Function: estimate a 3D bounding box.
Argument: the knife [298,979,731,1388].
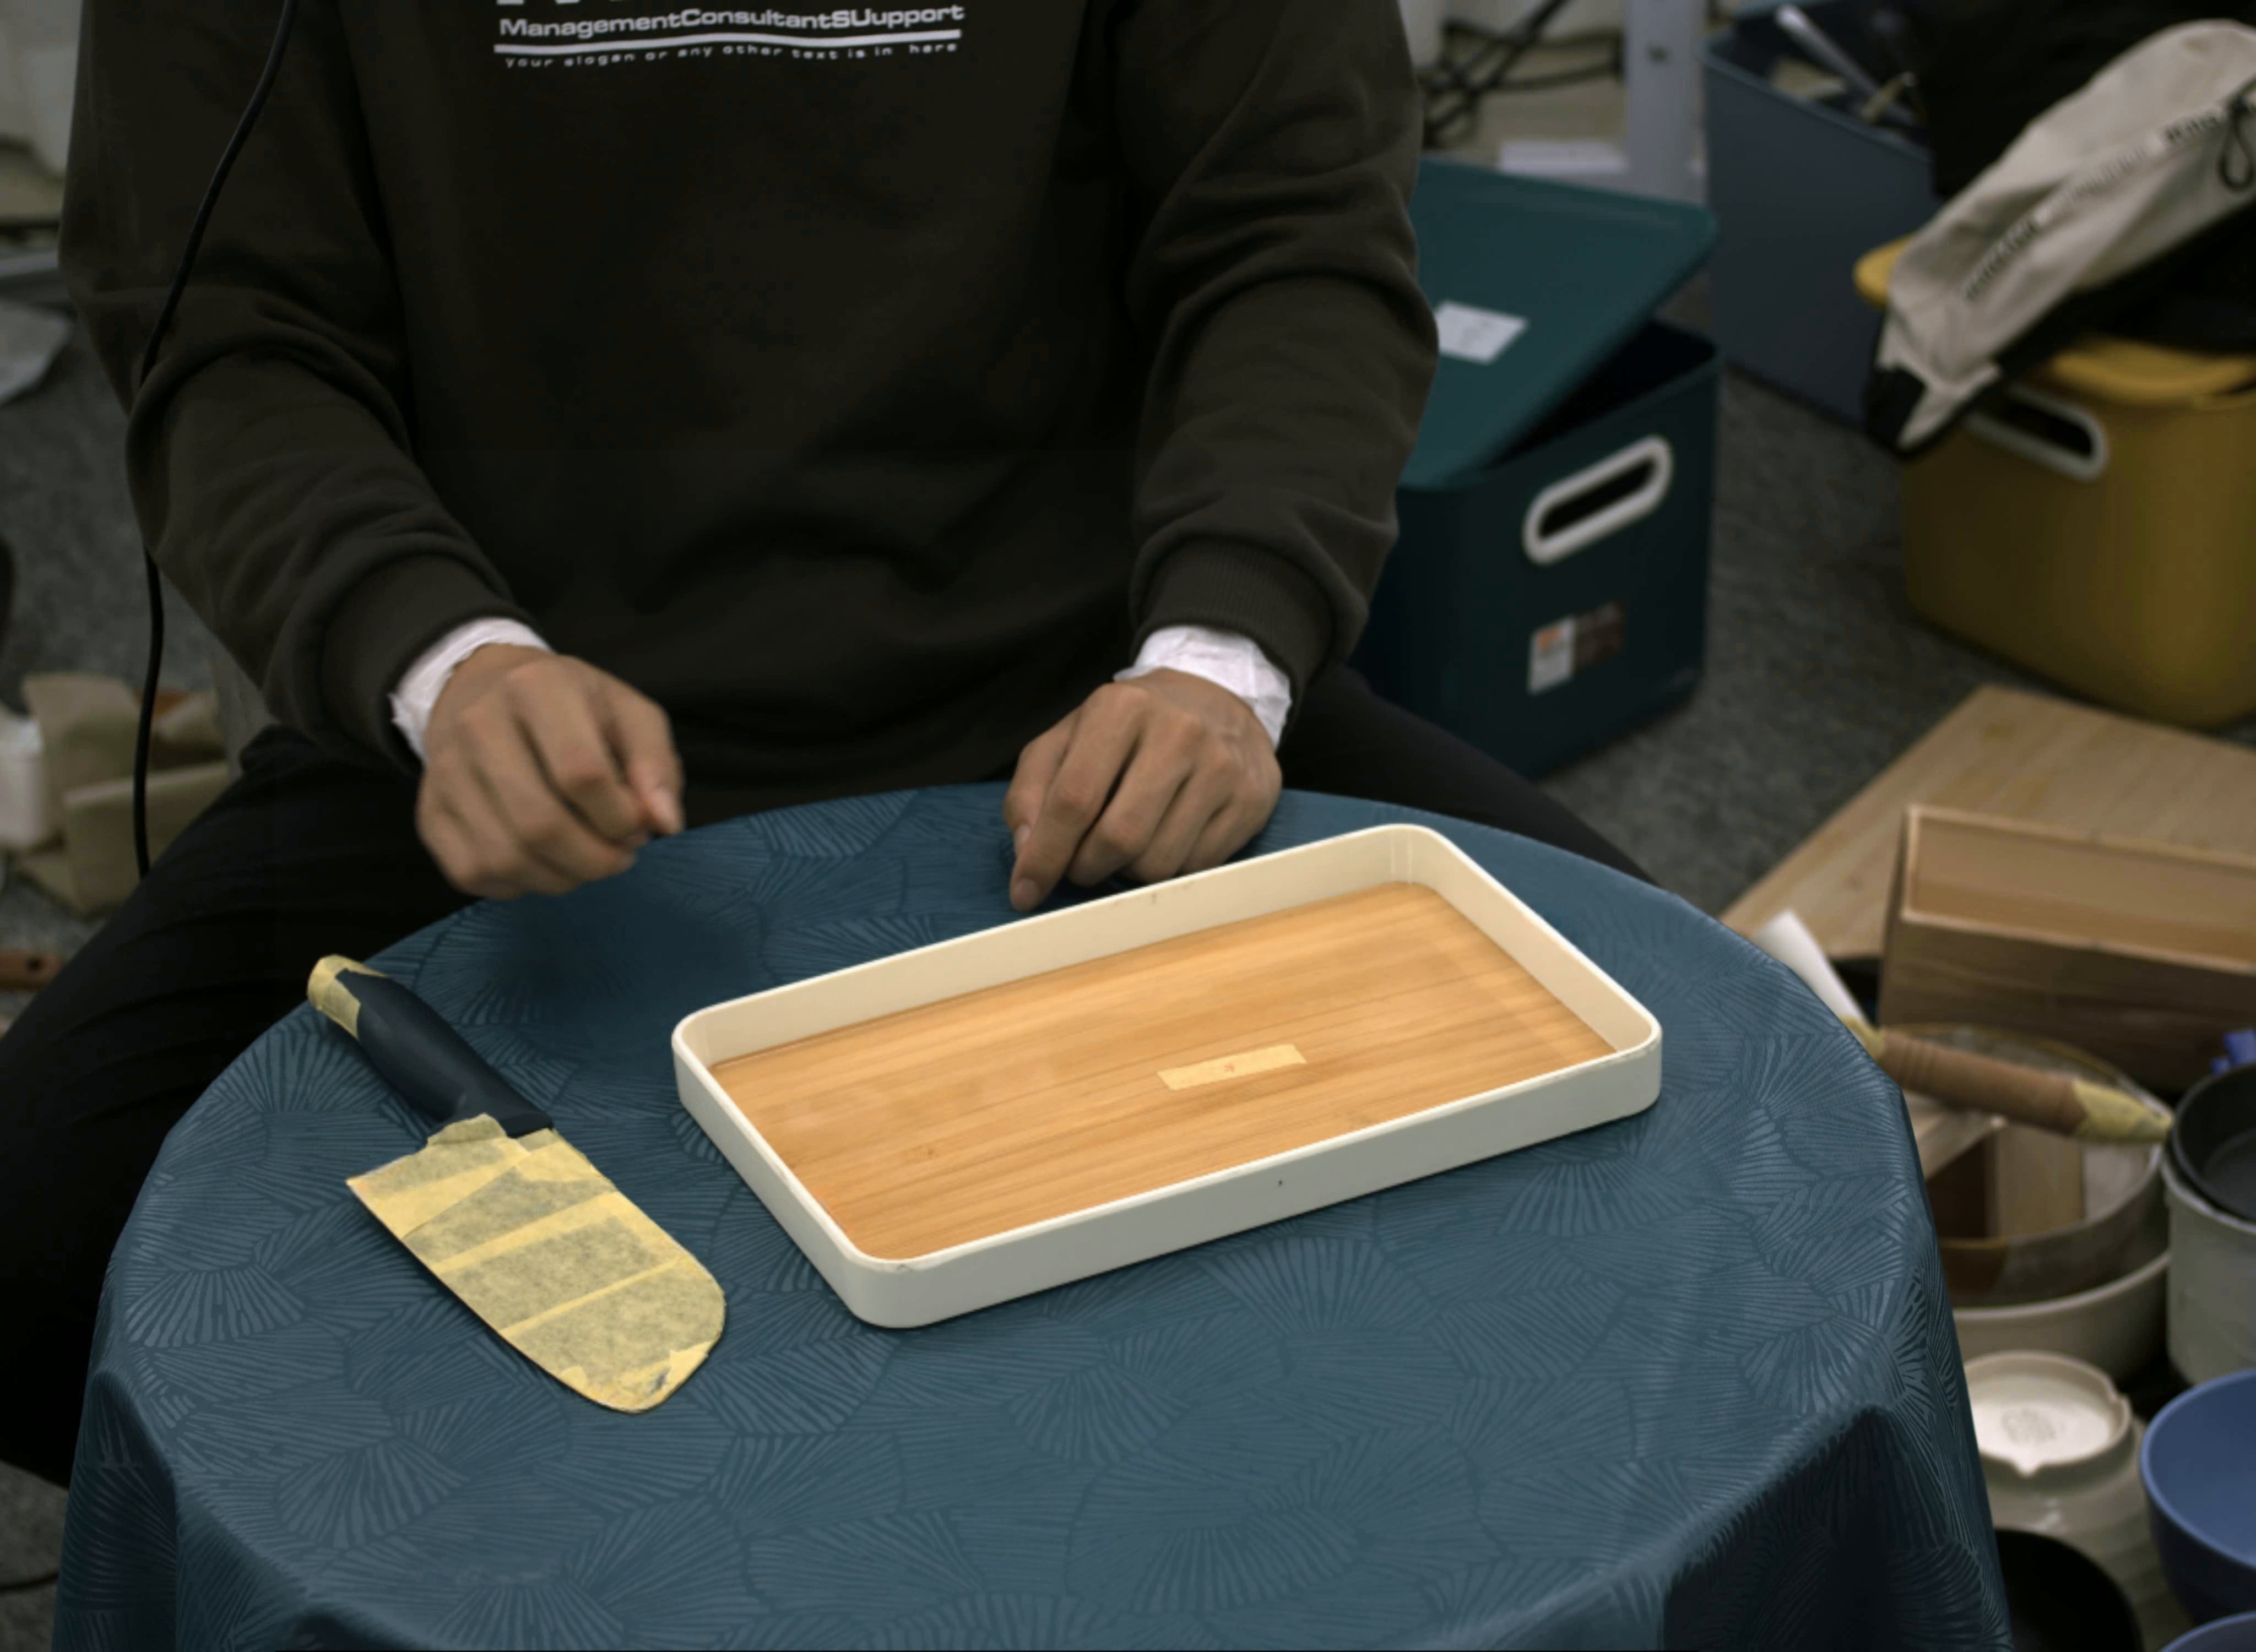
[{"bbox_3d":[-0.217,0.120,1.870,0.081,0.027,0.290,-16,31,-28],"label":"knife"}]

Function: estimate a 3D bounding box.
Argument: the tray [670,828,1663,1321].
[{"bbox_3d":[0.012,0.080,1.912,0.301,0.027,0.192,-14,28,-22],"label":"tray"}]
